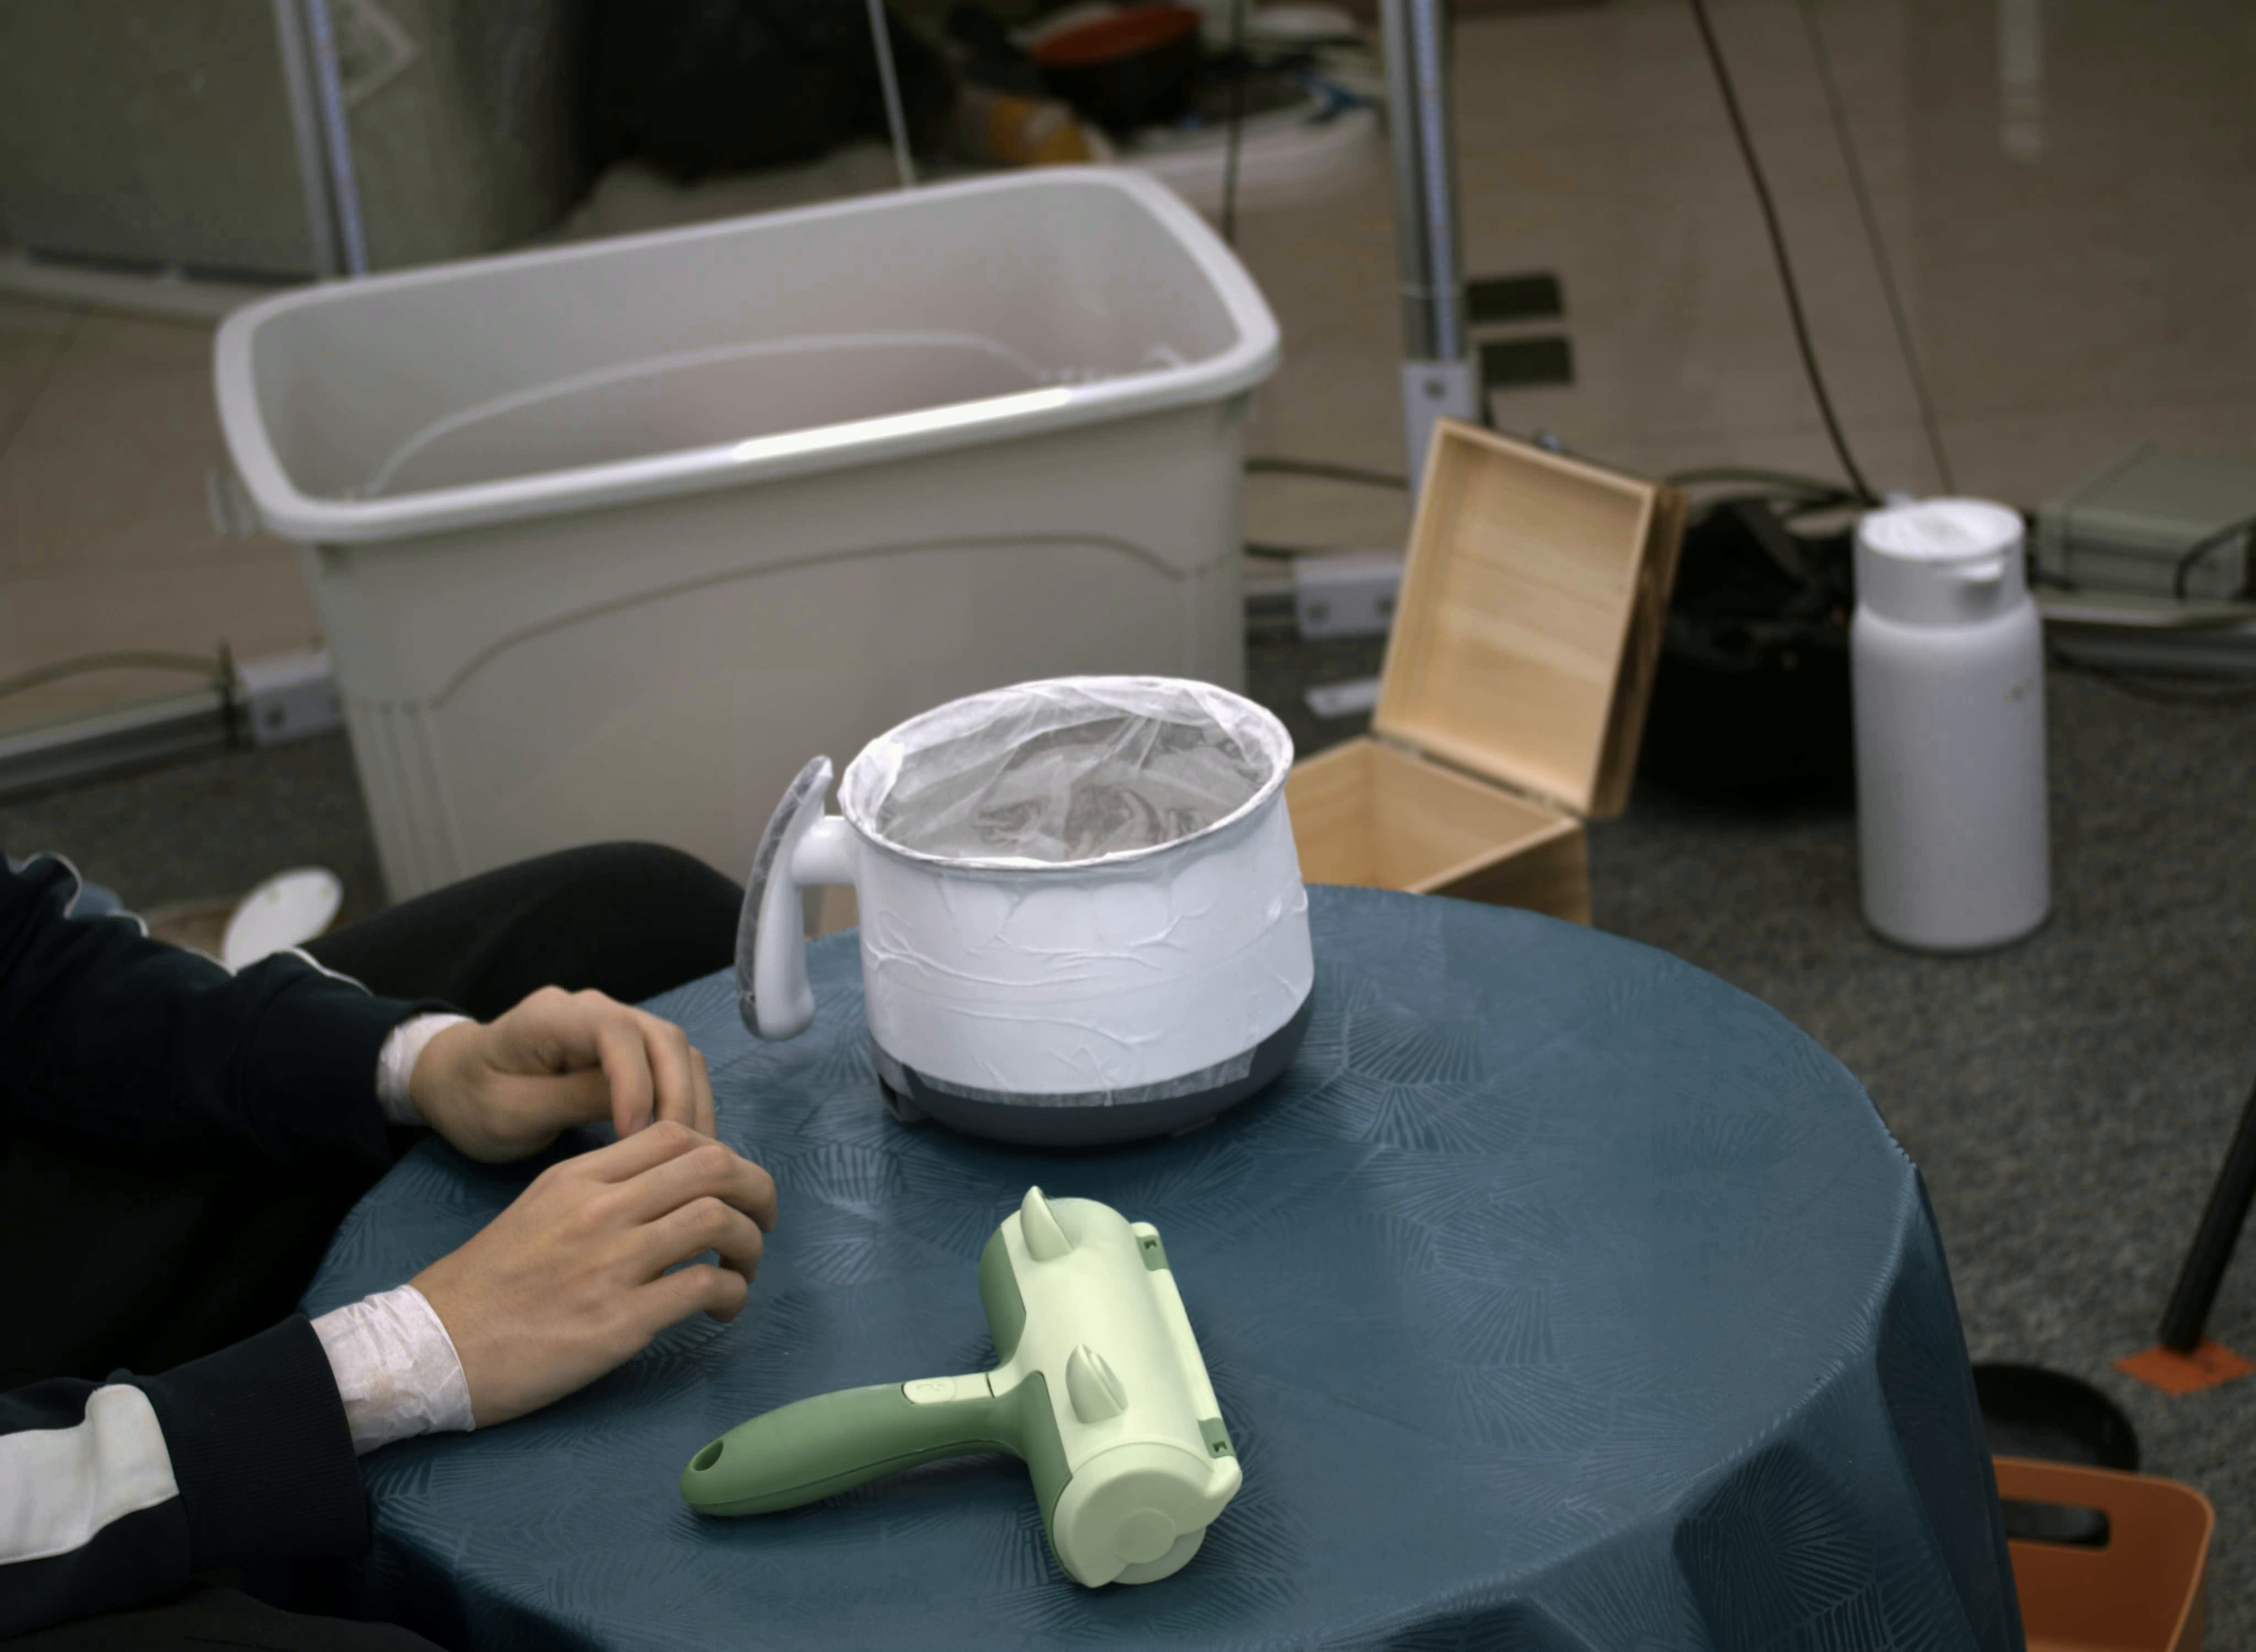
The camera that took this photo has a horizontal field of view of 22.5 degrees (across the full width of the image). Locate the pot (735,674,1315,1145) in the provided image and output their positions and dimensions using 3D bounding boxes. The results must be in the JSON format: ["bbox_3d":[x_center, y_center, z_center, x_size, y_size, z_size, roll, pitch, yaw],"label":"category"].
[{"bbox_3d":[-0.044,0.034,2.213,0.233,0.139,0.176,1,26,13],"label":"pot"}]

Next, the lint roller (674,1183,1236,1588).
[{"bbox_3d":[-0.067,0.191,1.959,0.183,0.083,0.196,-4,25,-7],"label":"lint roller"}]
